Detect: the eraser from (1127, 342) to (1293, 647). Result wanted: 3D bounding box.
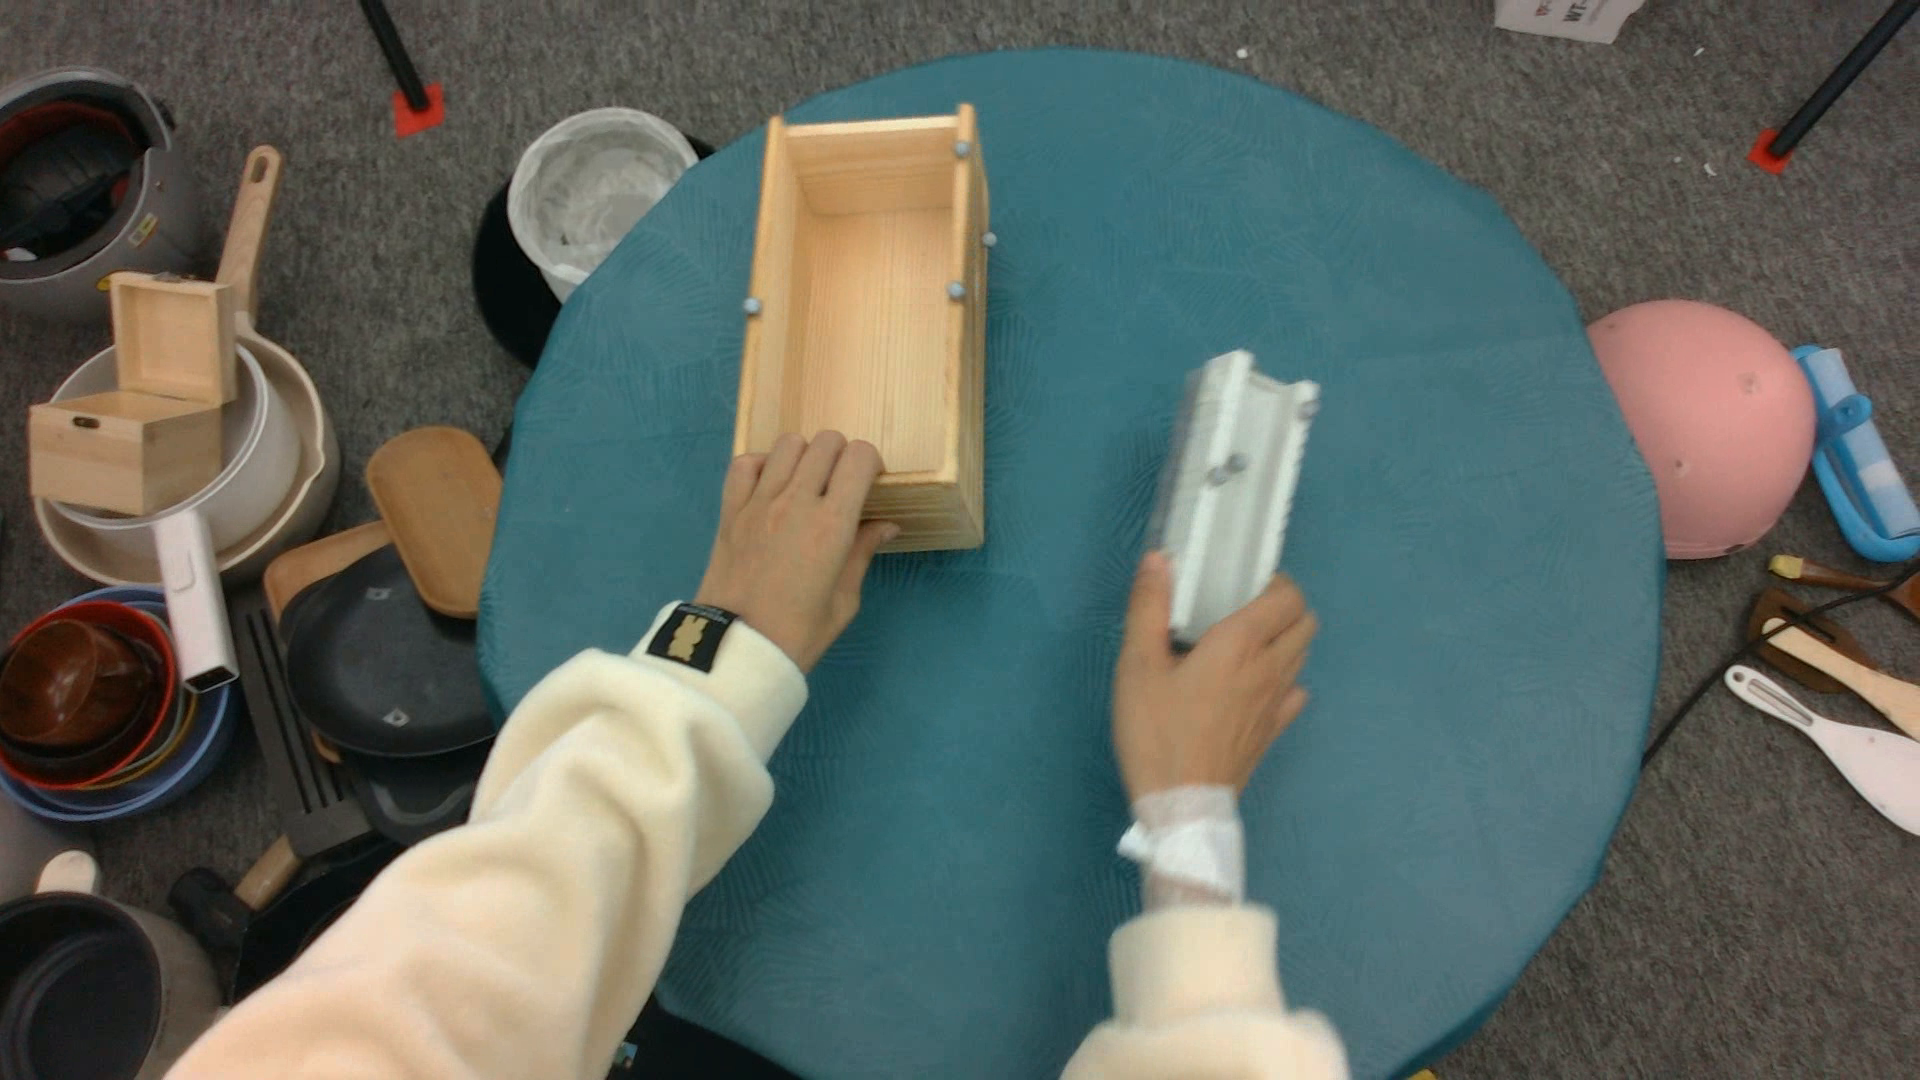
[{"bbox_3d":[0.117,-0.020,0.651,0.050,0.046,0.134,18,73,-25],"label":"eraser"}]

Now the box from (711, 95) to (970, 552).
[{"bbox_3d":[-0.054,-0.108,0.689,0.107,0.080,0.212,-4,66,9],"label":"box"}]
